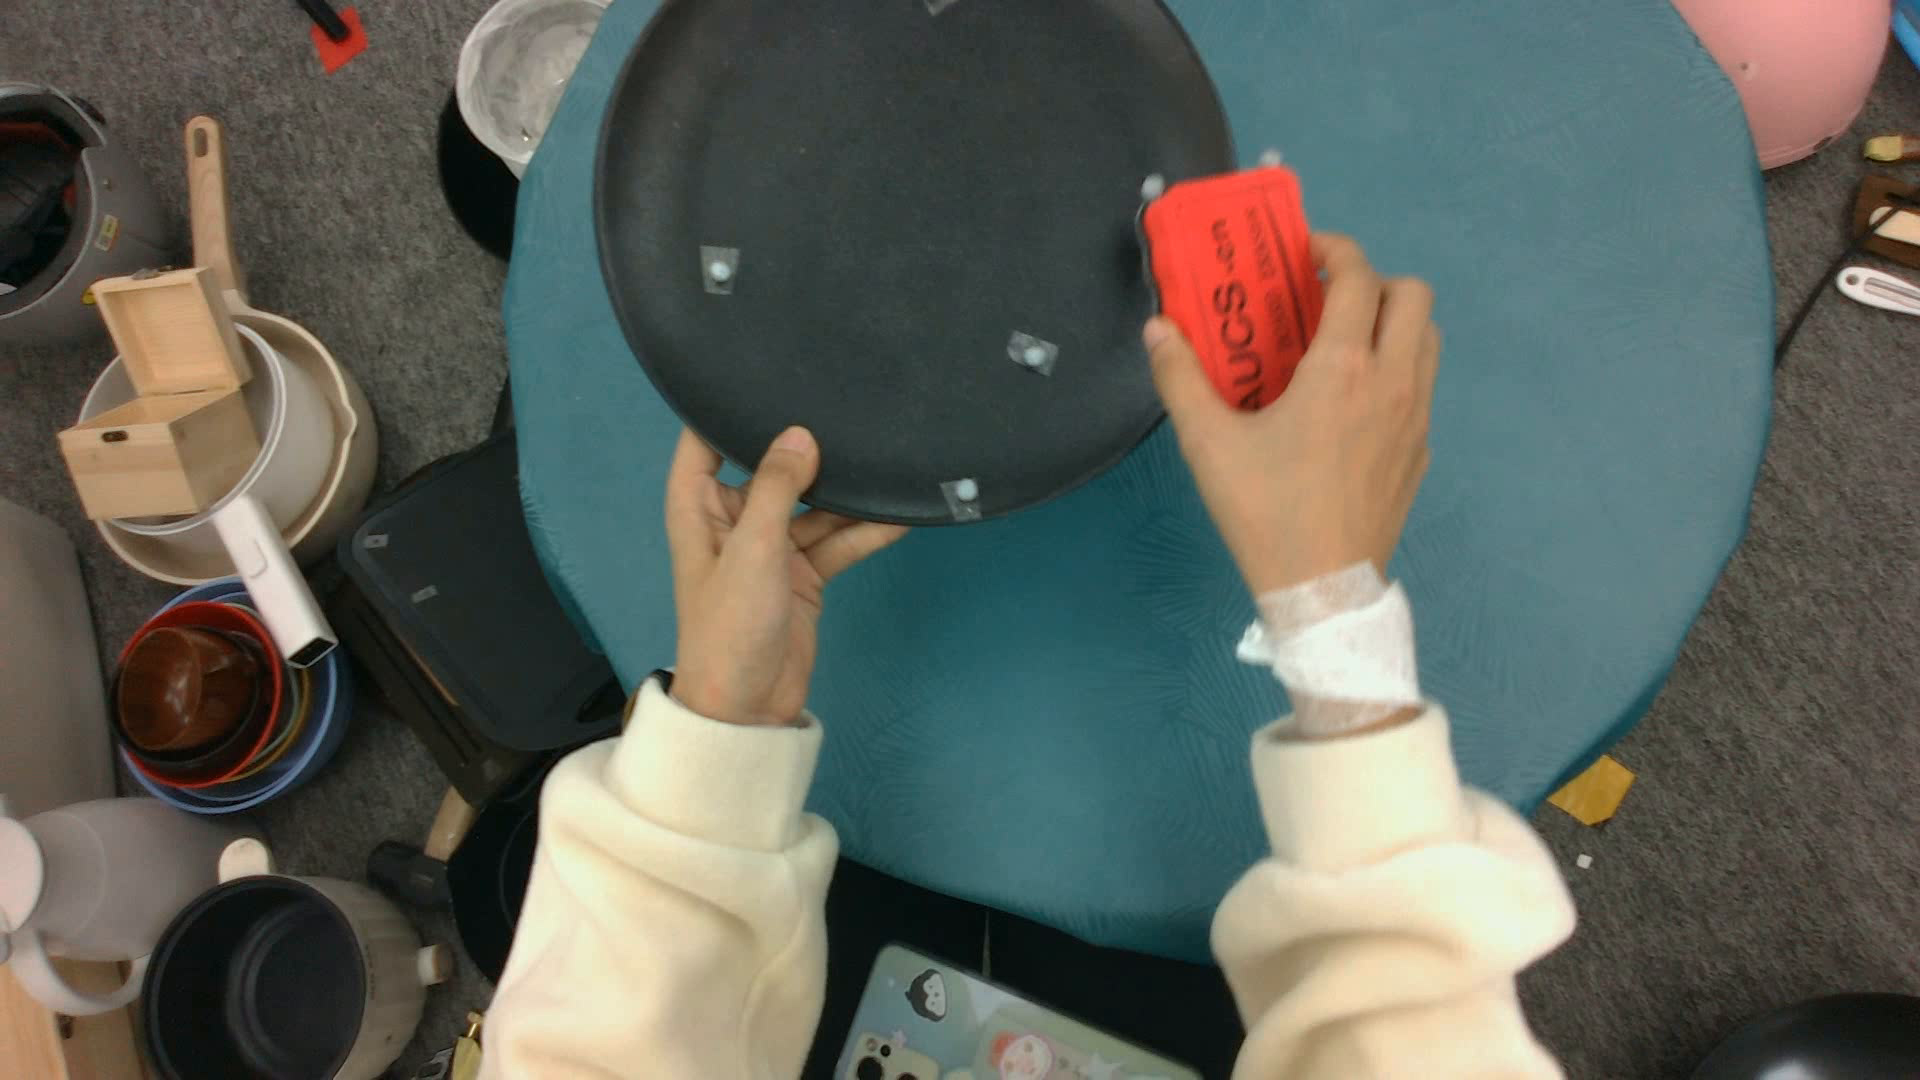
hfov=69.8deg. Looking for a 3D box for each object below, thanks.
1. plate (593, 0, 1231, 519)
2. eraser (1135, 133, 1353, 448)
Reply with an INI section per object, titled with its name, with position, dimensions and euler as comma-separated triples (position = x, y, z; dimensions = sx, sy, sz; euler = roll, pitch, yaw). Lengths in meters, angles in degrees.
[plate]
position = -0.016, -0.128, 0.527
dimensions = 0.244, 0.023, 0.244
euler = 0, 86, -2
[eraser]
position = 0.104, -0.091, 0.506
dimensions = 0.059, 0.023, 0.108
euler = -15, 92, -18
